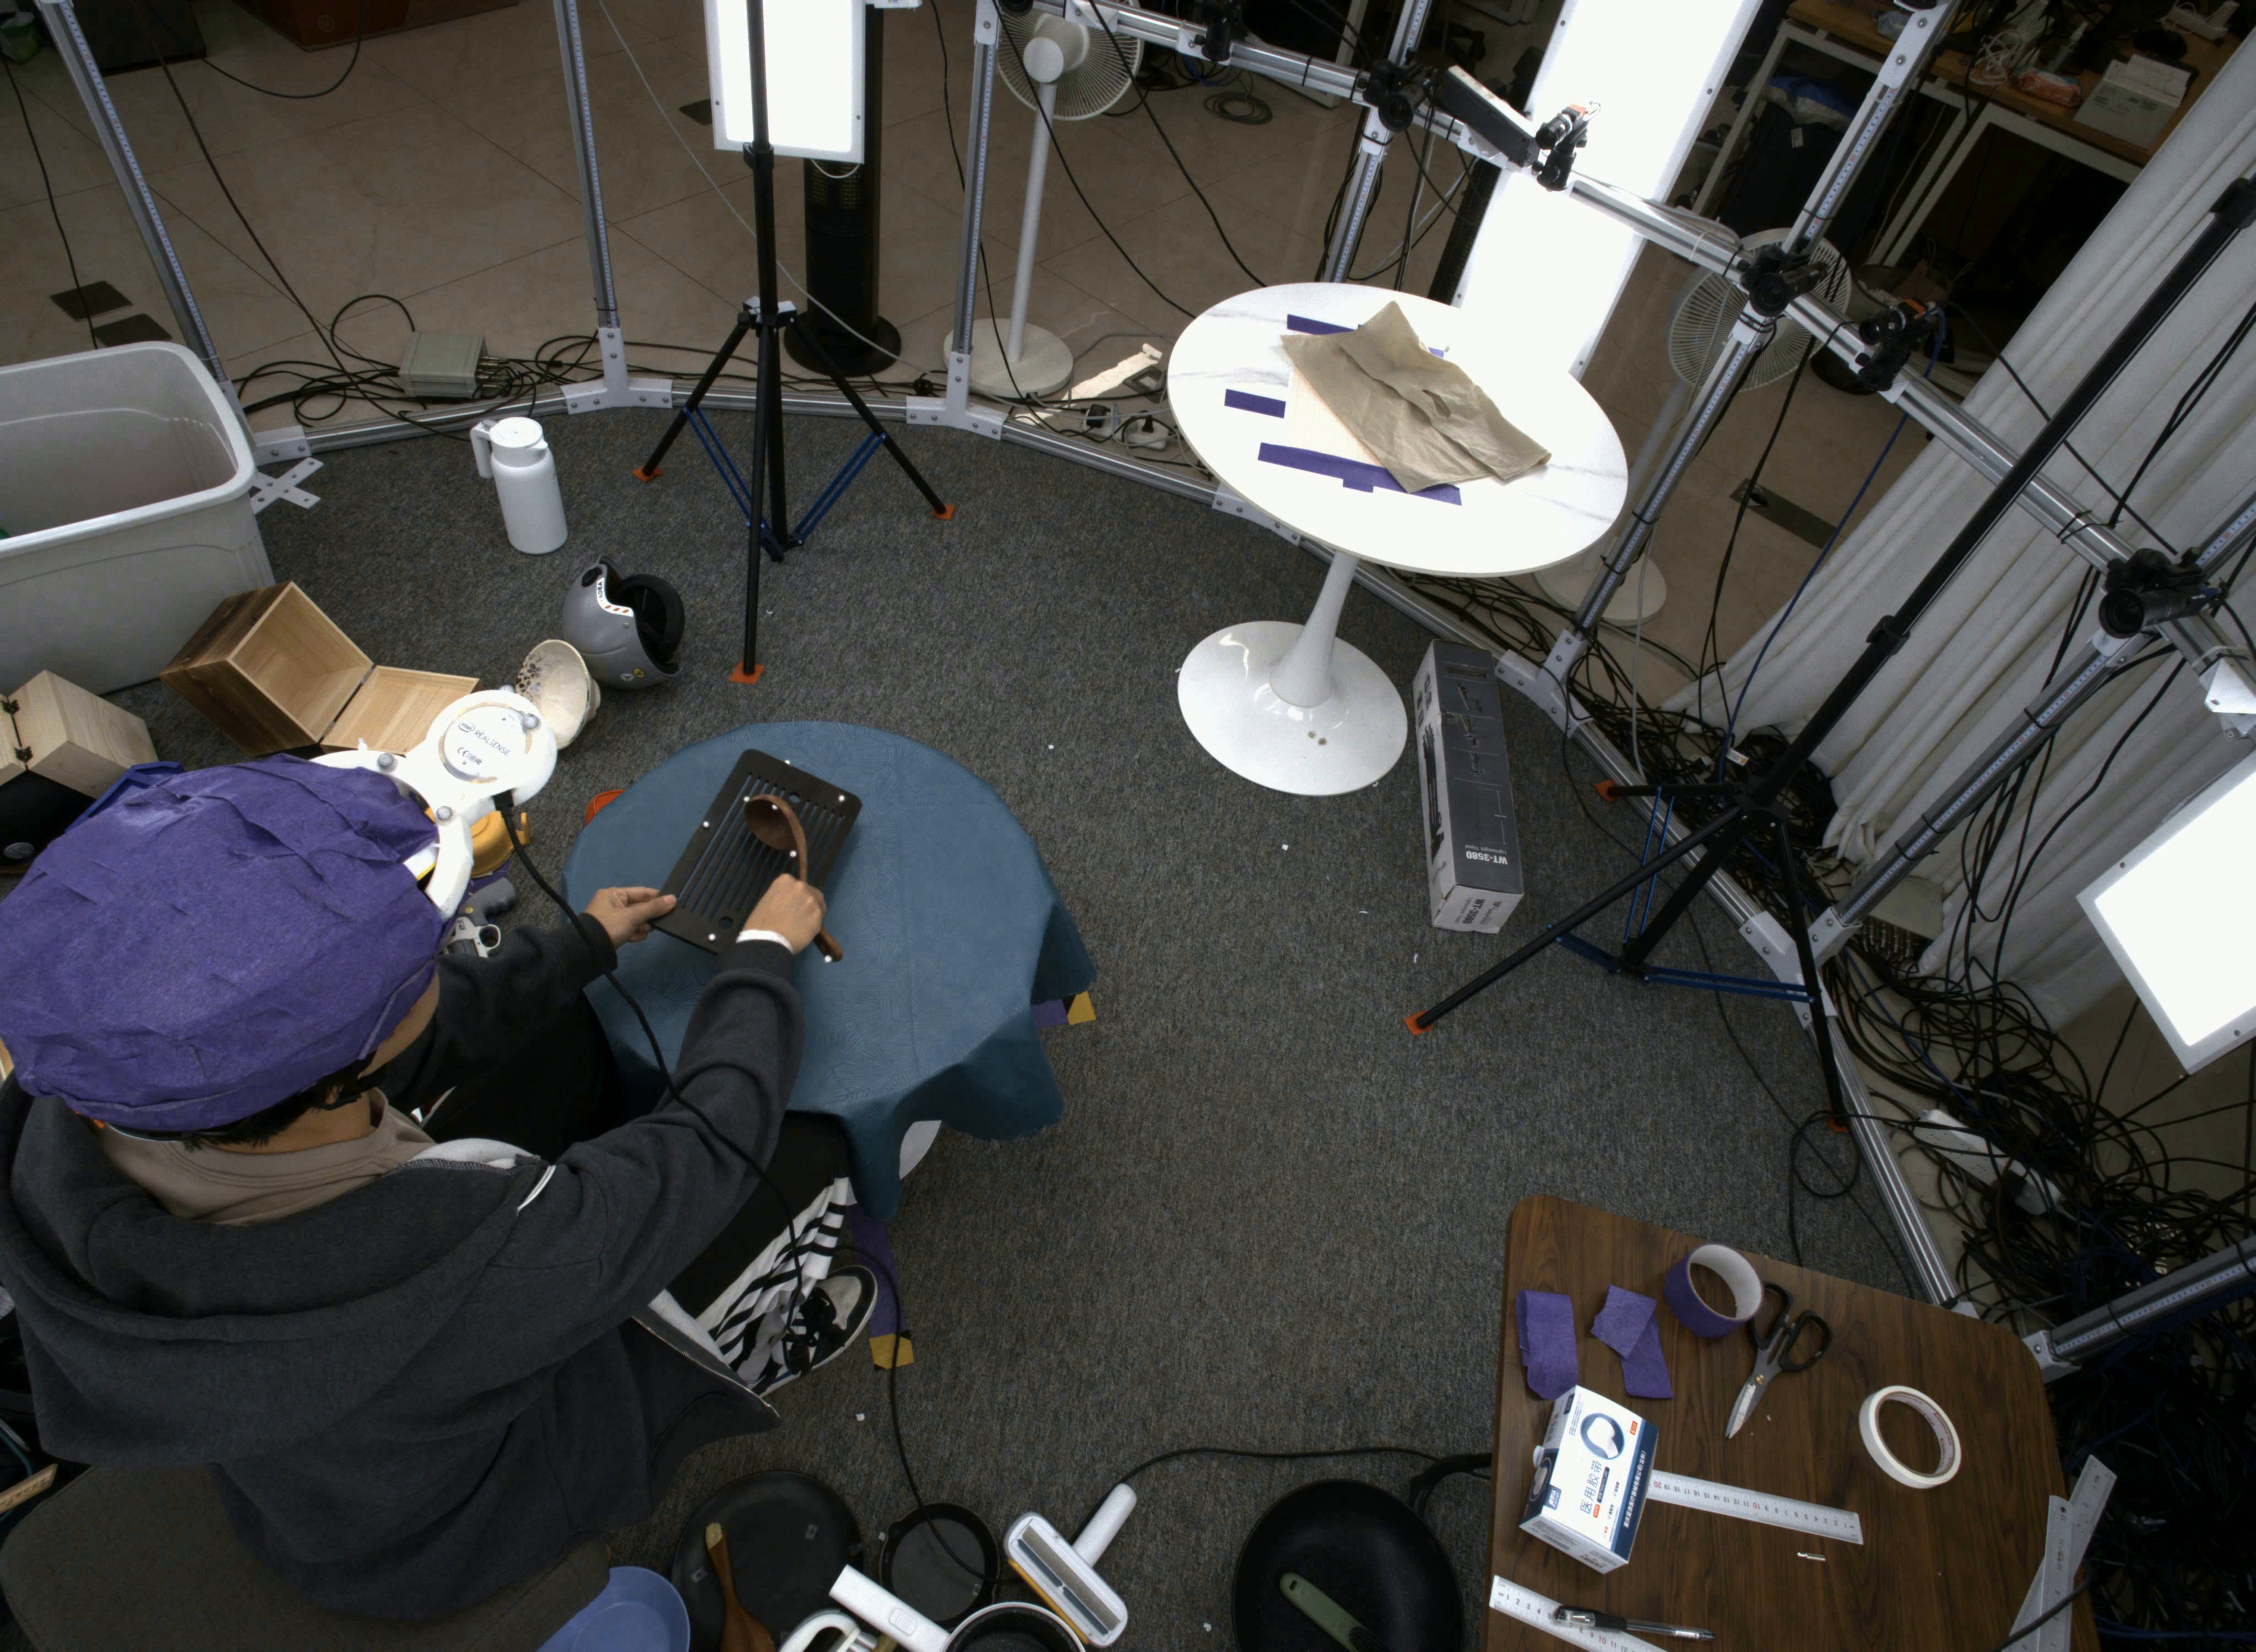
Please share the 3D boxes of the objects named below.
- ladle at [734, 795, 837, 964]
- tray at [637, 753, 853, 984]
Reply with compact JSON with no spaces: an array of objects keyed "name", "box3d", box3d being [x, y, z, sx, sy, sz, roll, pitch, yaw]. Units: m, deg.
[{"name":"ladle","box3d":[-0.410,0.064,1.541,0.065,0.078,0.253,-9,51,-26]},{"name":"tray","box3d":[-0.470,0.046,1.607,0.171,0.019,0.302,26,47,-11]}]
